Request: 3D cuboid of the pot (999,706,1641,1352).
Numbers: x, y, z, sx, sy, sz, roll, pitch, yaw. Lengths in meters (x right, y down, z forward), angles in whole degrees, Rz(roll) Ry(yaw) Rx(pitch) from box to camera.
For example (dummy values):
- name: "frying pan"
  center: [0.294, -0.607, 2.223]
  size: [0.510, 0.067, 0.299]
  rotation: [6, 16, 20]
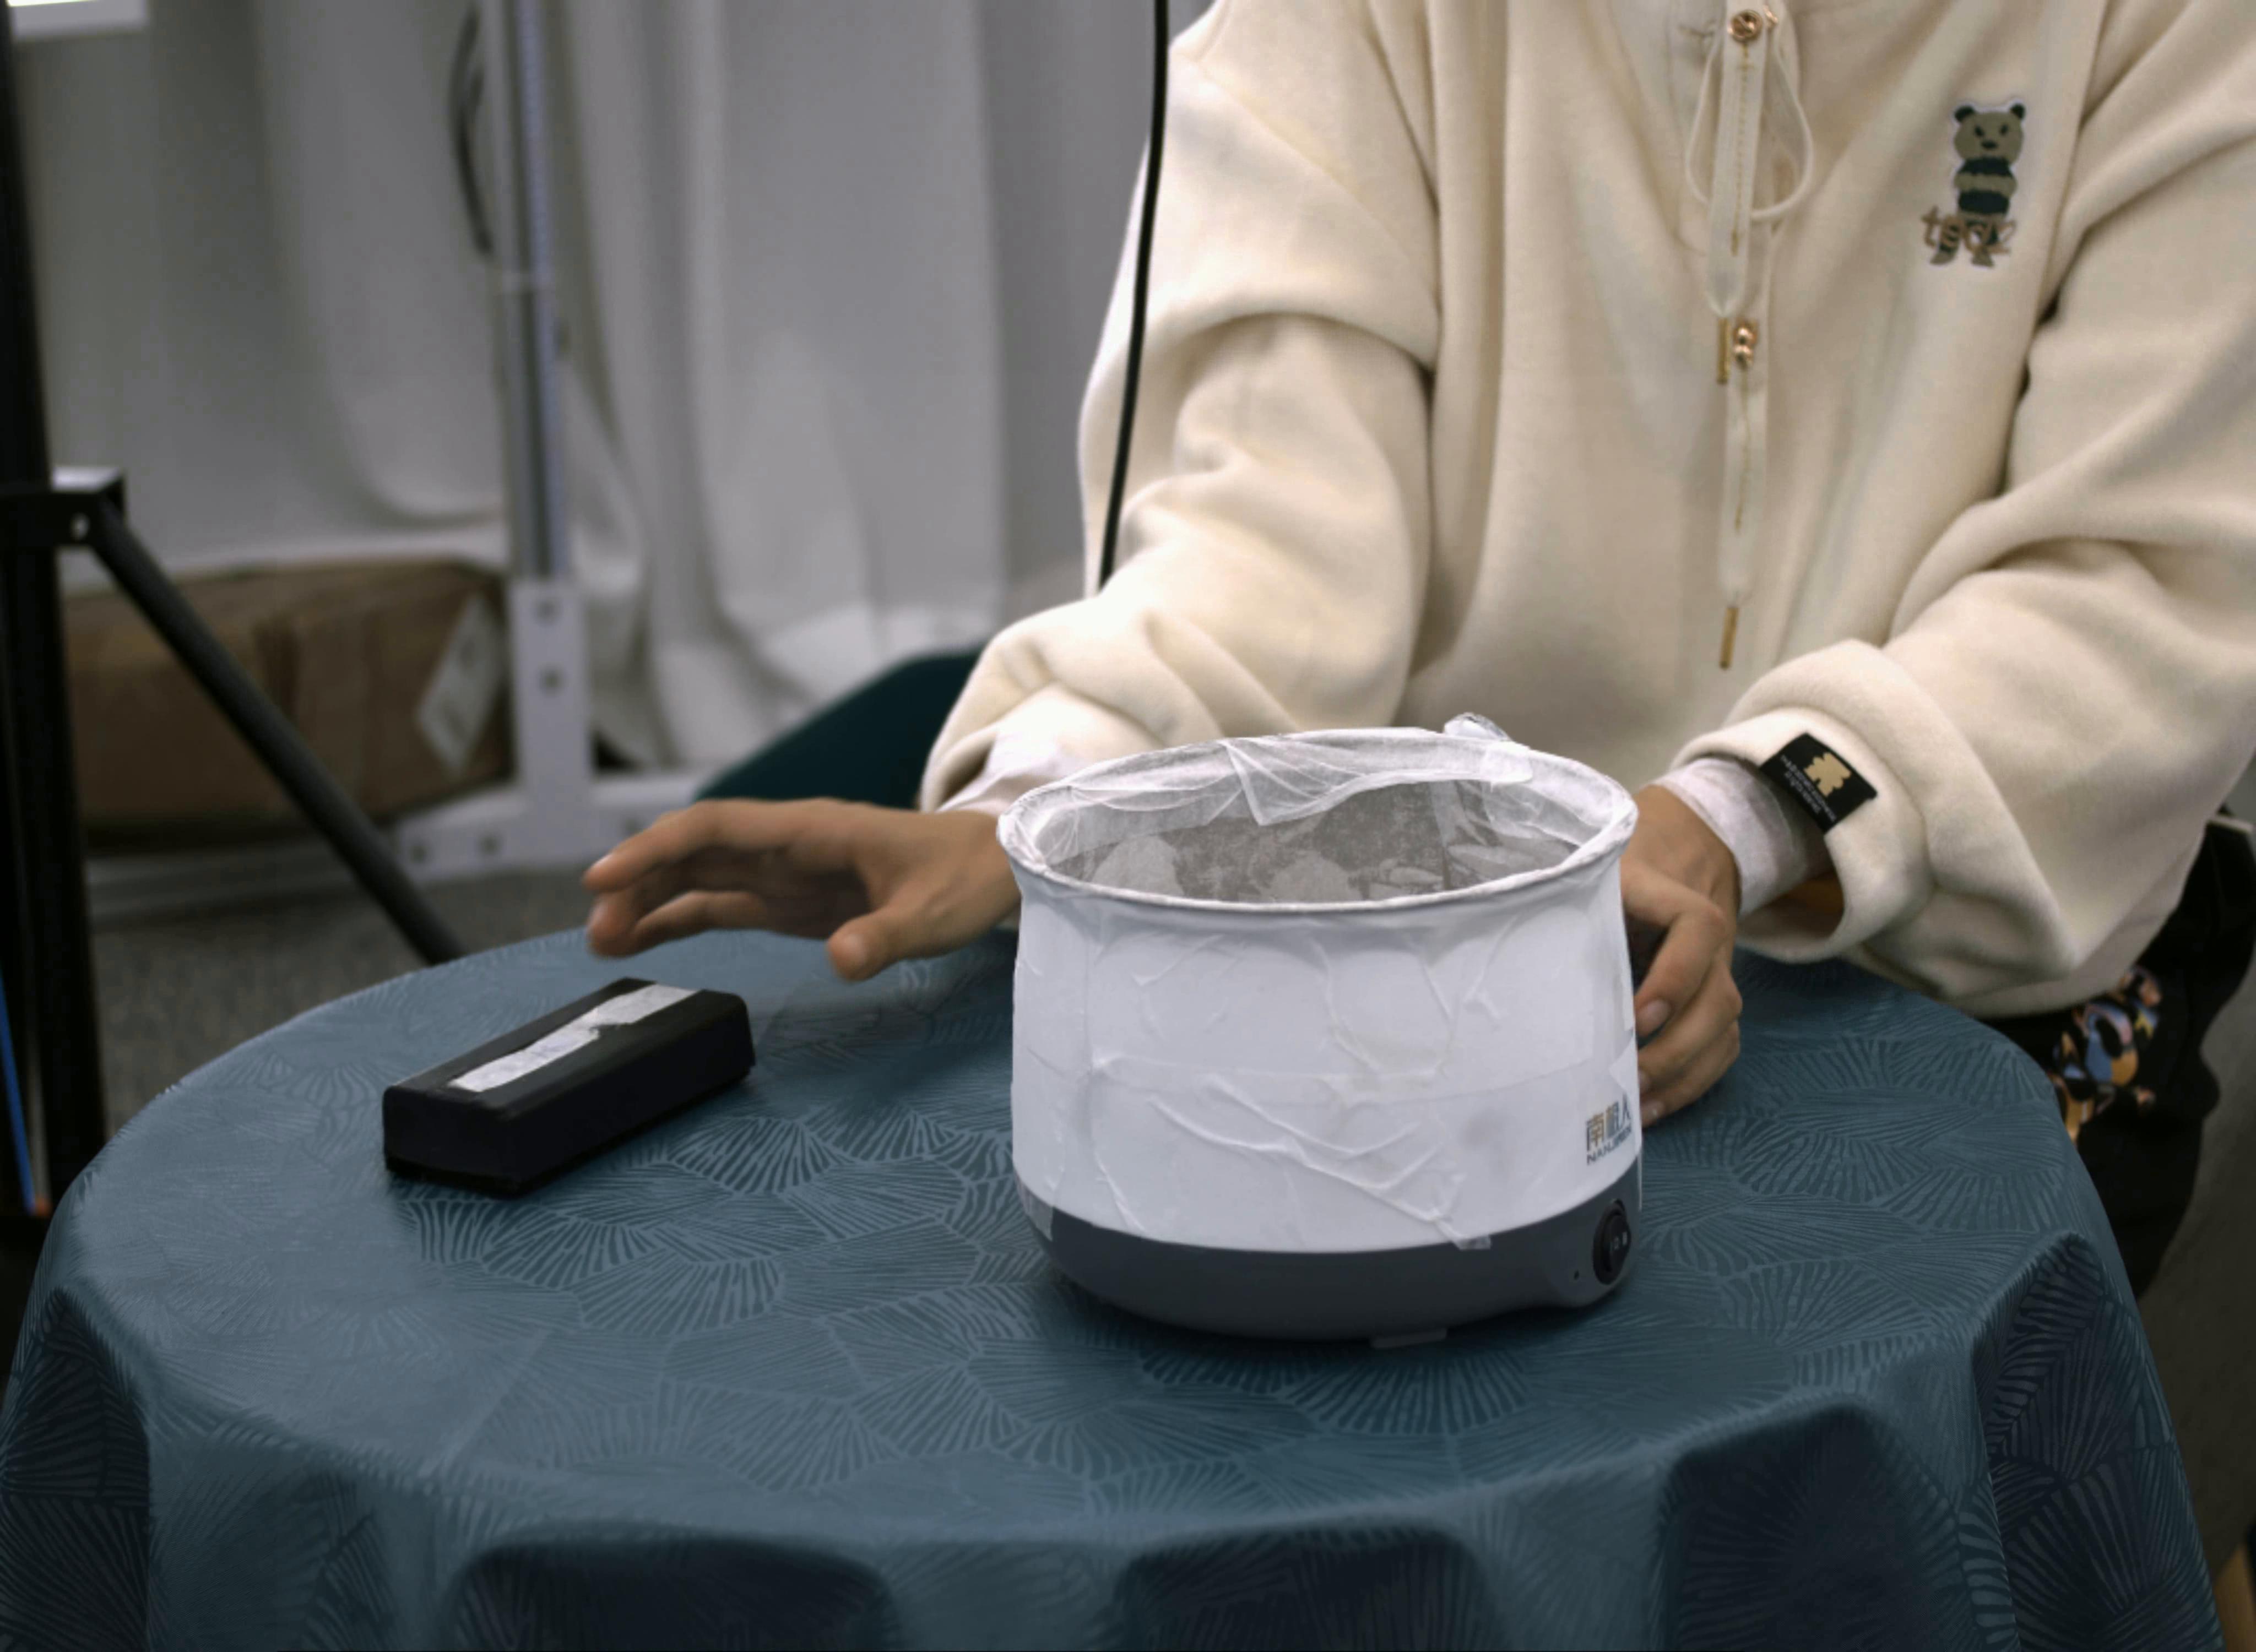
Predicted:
- name: "pot"
  center: [0.067, 0.050, 1.497]
  size: [0.182, 0.136, 0.230]
  rotation: [6, 18, 28]

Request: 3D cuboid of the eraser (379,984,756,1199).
- name: "eraser"
  center: [-0.170, 0.080, 1.634]
  size: [0.054, 0.030, 0.123]
  rotation: [8, 18, 32]
